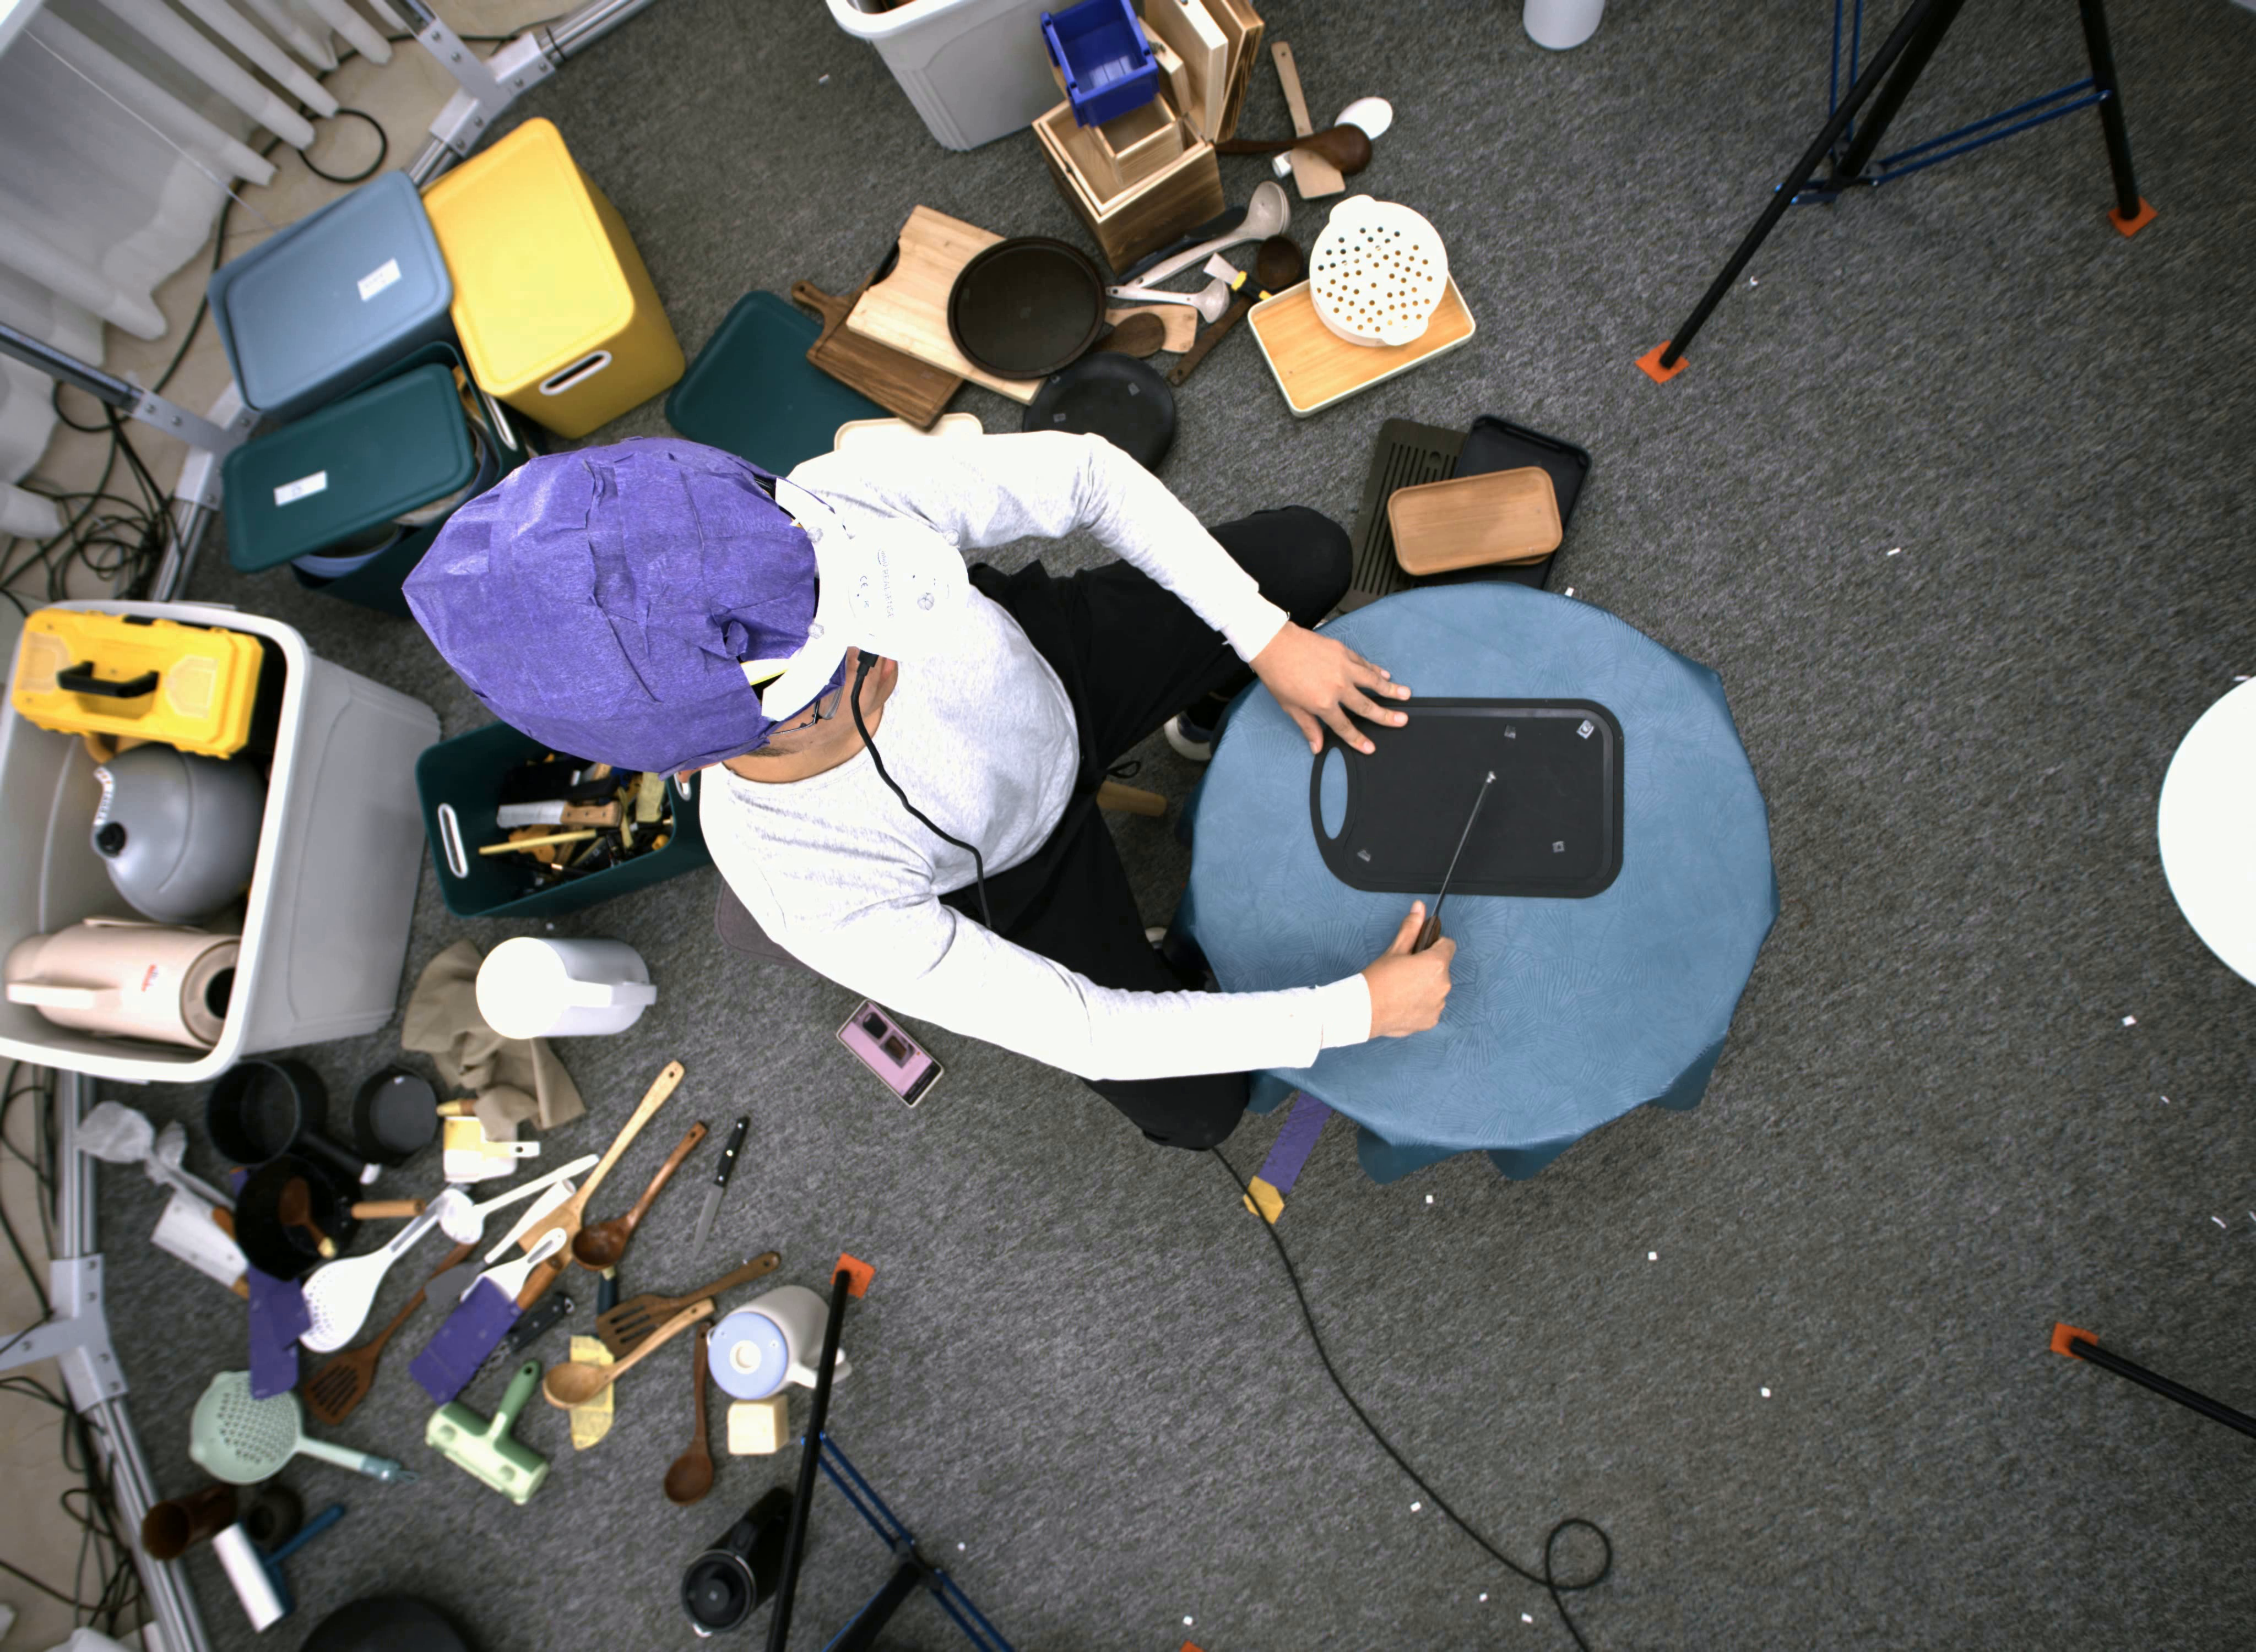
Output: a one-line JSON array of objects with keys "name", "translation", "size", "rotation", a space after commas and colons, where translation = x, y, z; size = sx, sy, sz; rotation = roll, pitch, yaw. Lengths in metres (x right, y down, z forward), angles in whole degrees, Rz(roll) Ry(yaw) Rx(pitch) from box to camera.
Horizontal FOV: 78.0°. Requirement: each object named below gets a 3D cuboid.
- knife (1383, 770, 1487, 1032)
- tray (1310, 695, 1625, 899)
[{"name": "knife", "translation": [0.320, 0.073, 1.417], "size": [0.020, 0.050, 0.288], "rotation": [21, 87, -1]}, {"name": "tray", "translation": [0.354, -0.035, 1.447], "size": [0.326, 0.010, 0.210], "rotation": [2, 87, 11]}]
